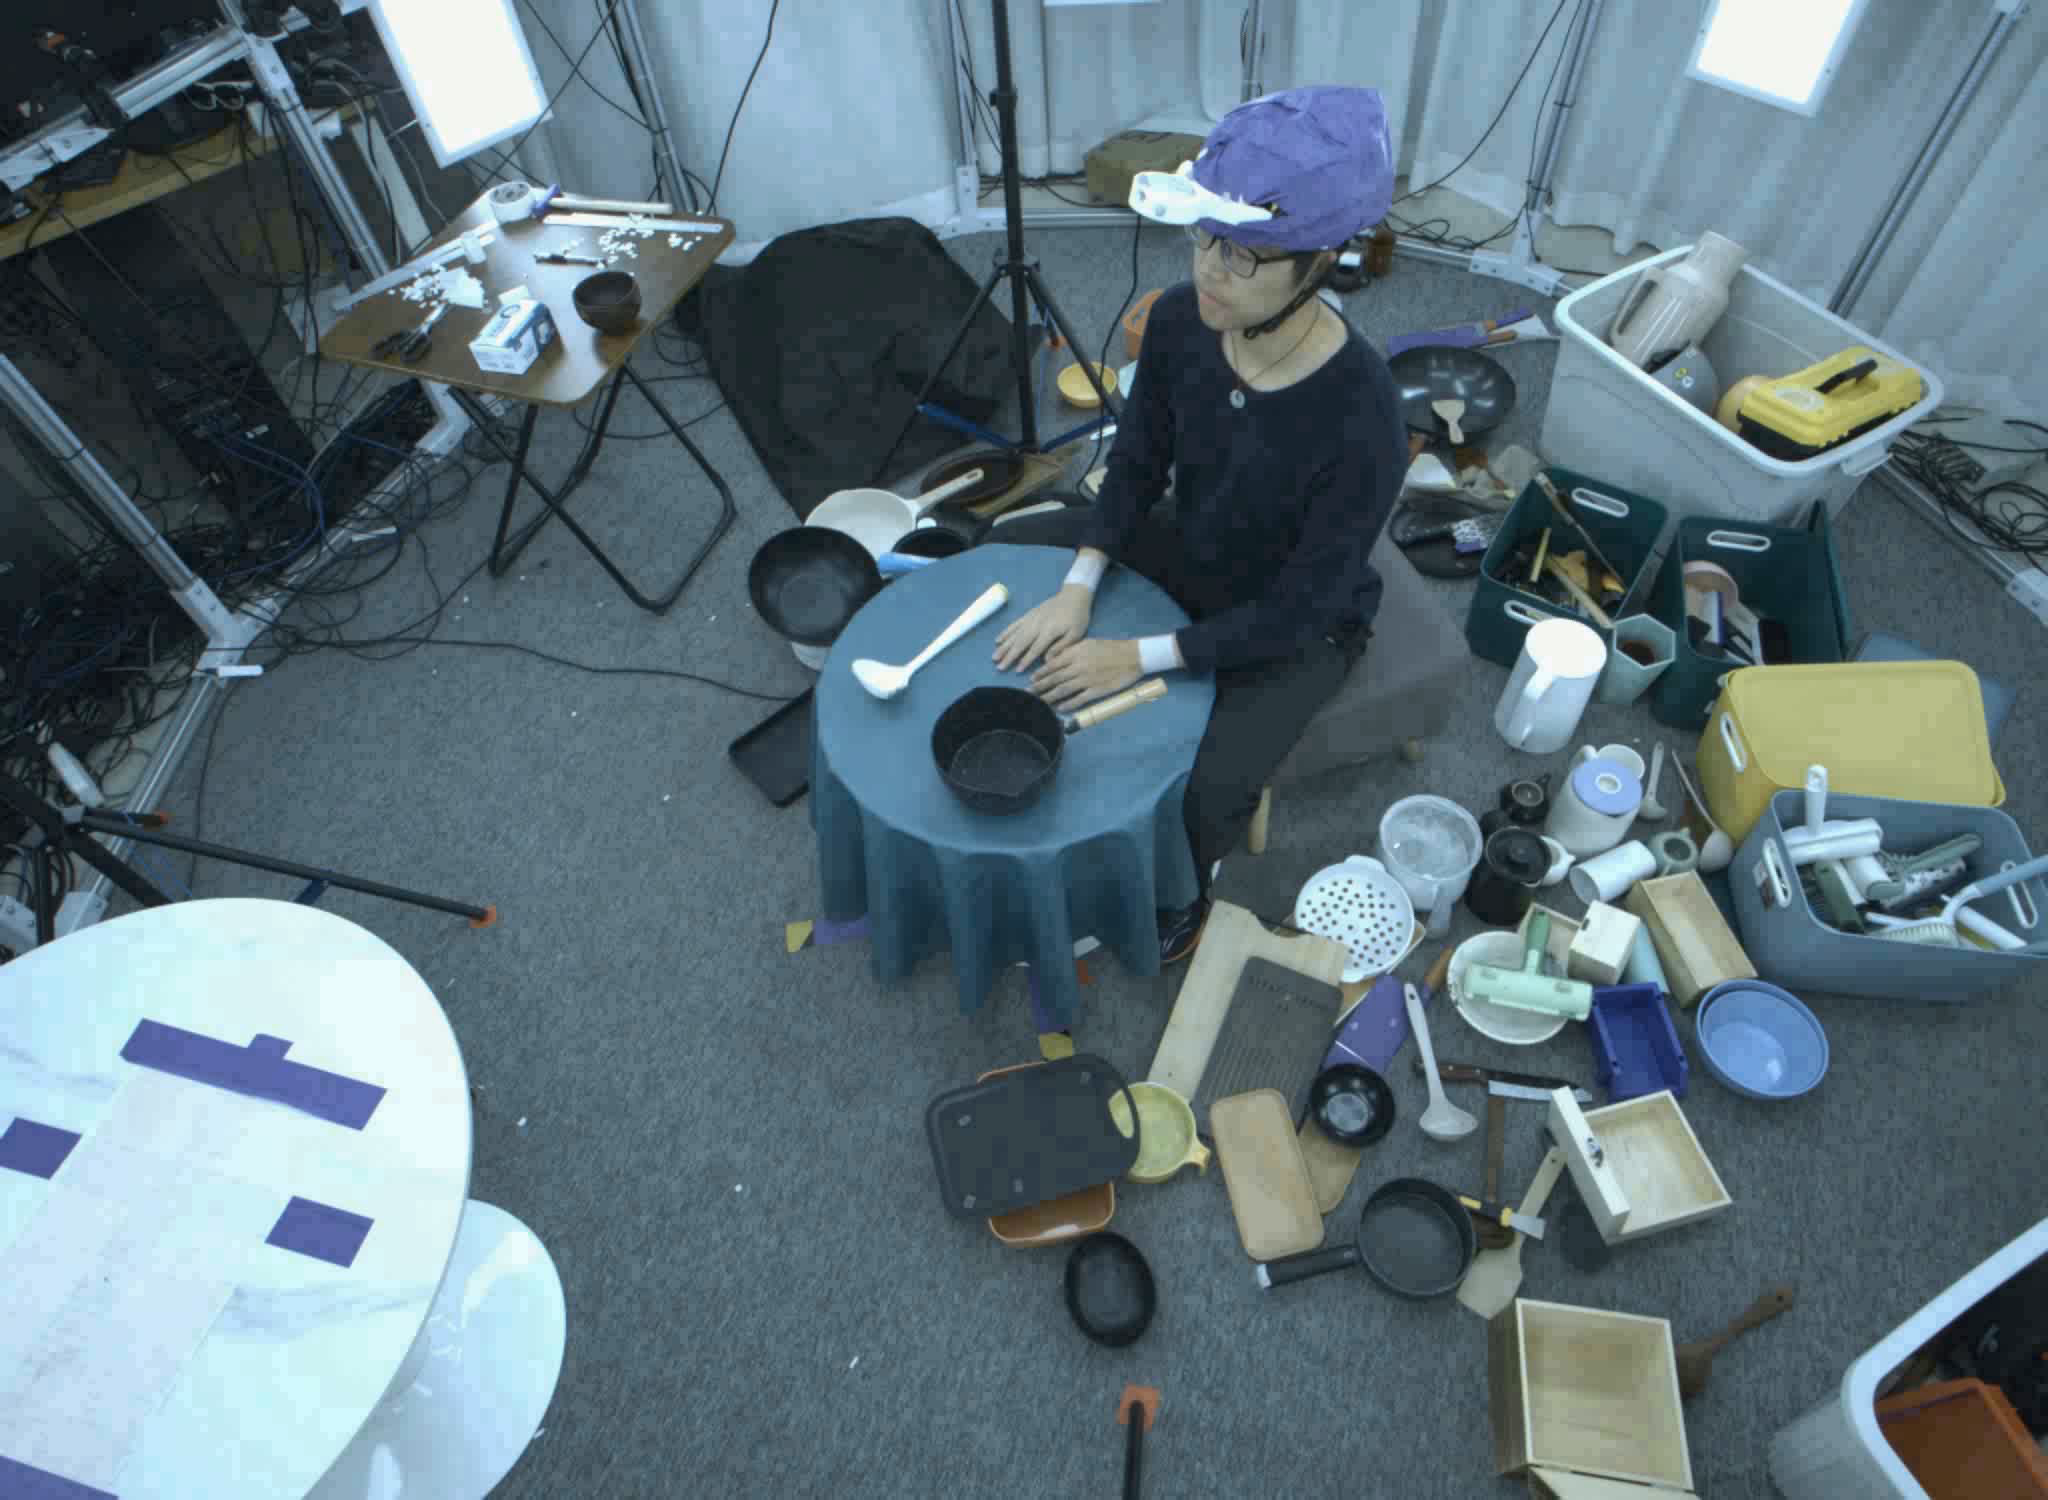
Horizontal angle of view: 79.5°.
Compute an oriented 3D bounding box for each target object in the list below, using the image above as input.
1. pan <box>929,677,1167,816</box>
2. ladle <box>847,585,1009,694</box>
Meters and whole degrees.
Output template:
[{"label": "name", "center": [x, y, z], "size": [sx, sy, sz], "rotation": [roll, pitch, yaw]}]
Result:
[{"label": "pan", "center": [0.039, -0.022, 1.735], "size": [0.344, 0.109, 0.204], "rotation": [-17, 55, -8]}, {"label": "ladle", "center": [-0.141, -0.179, 1.880], "size": [0.295, 0.071, 0.088], "rotation": [-39, 55, -23]}]
